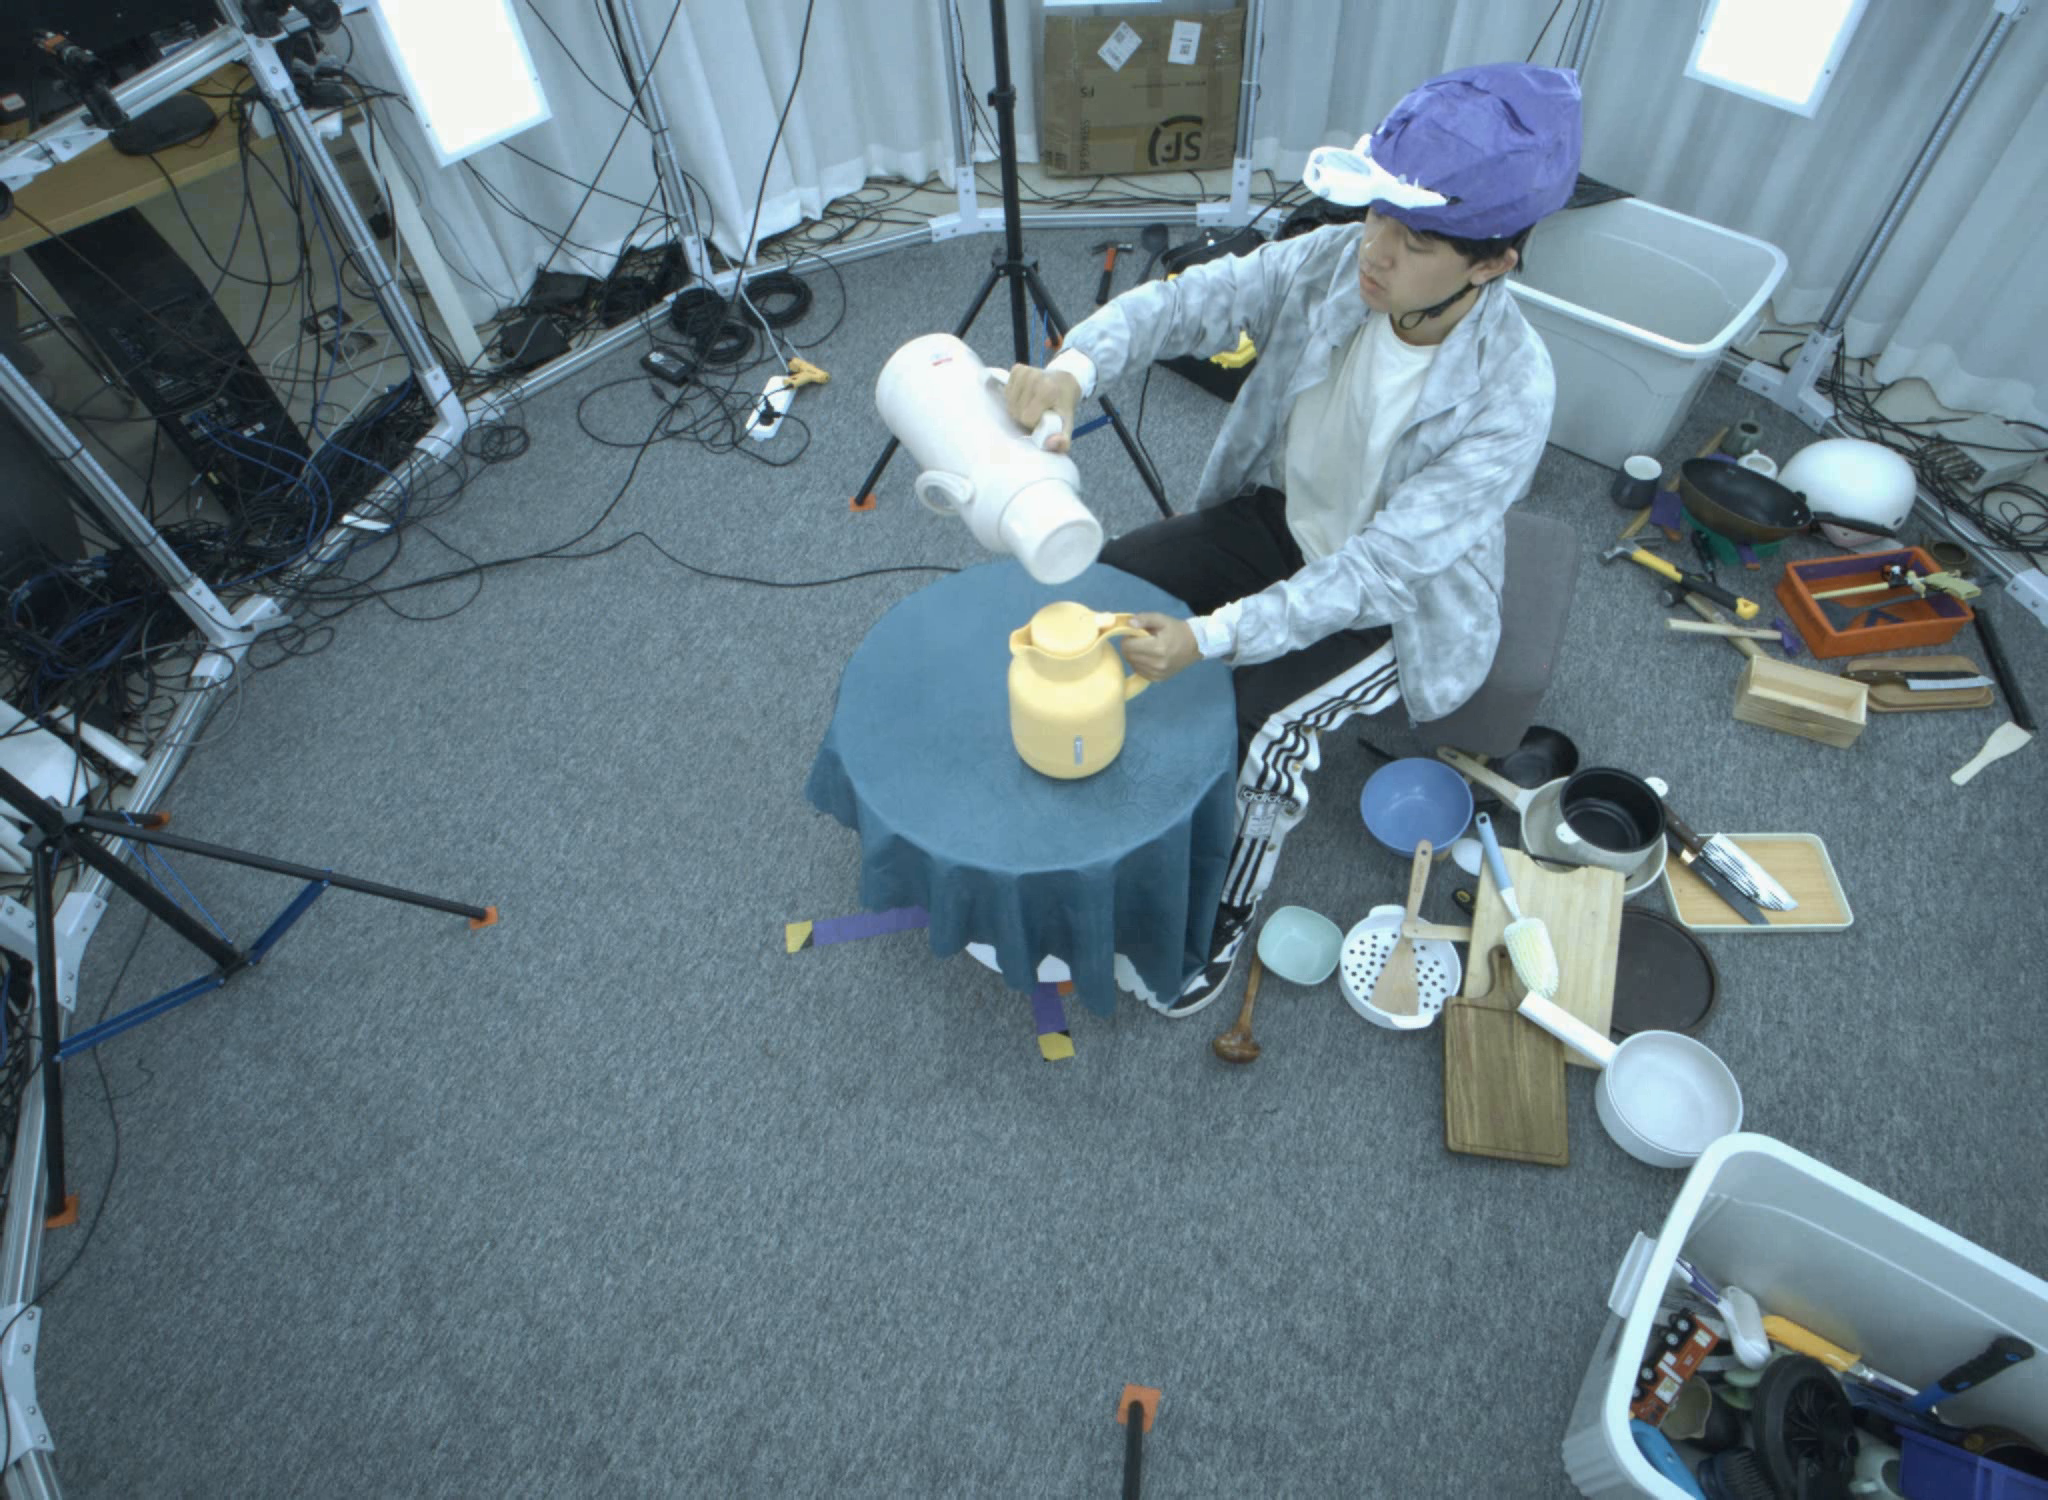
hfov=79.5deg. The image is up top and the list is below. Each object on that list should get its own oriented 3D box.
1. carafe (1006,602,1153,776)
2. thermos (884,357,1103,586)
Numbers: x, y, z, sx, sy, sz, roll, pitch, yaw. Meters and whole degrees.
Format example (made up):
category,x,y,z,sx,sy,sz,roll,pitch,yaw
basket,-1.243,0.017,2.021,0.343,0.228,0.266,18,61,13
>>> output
category,x,y,z,sx,sy,sz,roll,pitch,yaw
carafe,0.077,-0.092,1.691,0.203,0.263,0.161,-10,57,-3
thermos,-0.037,-0.390,1.601,0.179,0.207,0.398,-7,49,-36
